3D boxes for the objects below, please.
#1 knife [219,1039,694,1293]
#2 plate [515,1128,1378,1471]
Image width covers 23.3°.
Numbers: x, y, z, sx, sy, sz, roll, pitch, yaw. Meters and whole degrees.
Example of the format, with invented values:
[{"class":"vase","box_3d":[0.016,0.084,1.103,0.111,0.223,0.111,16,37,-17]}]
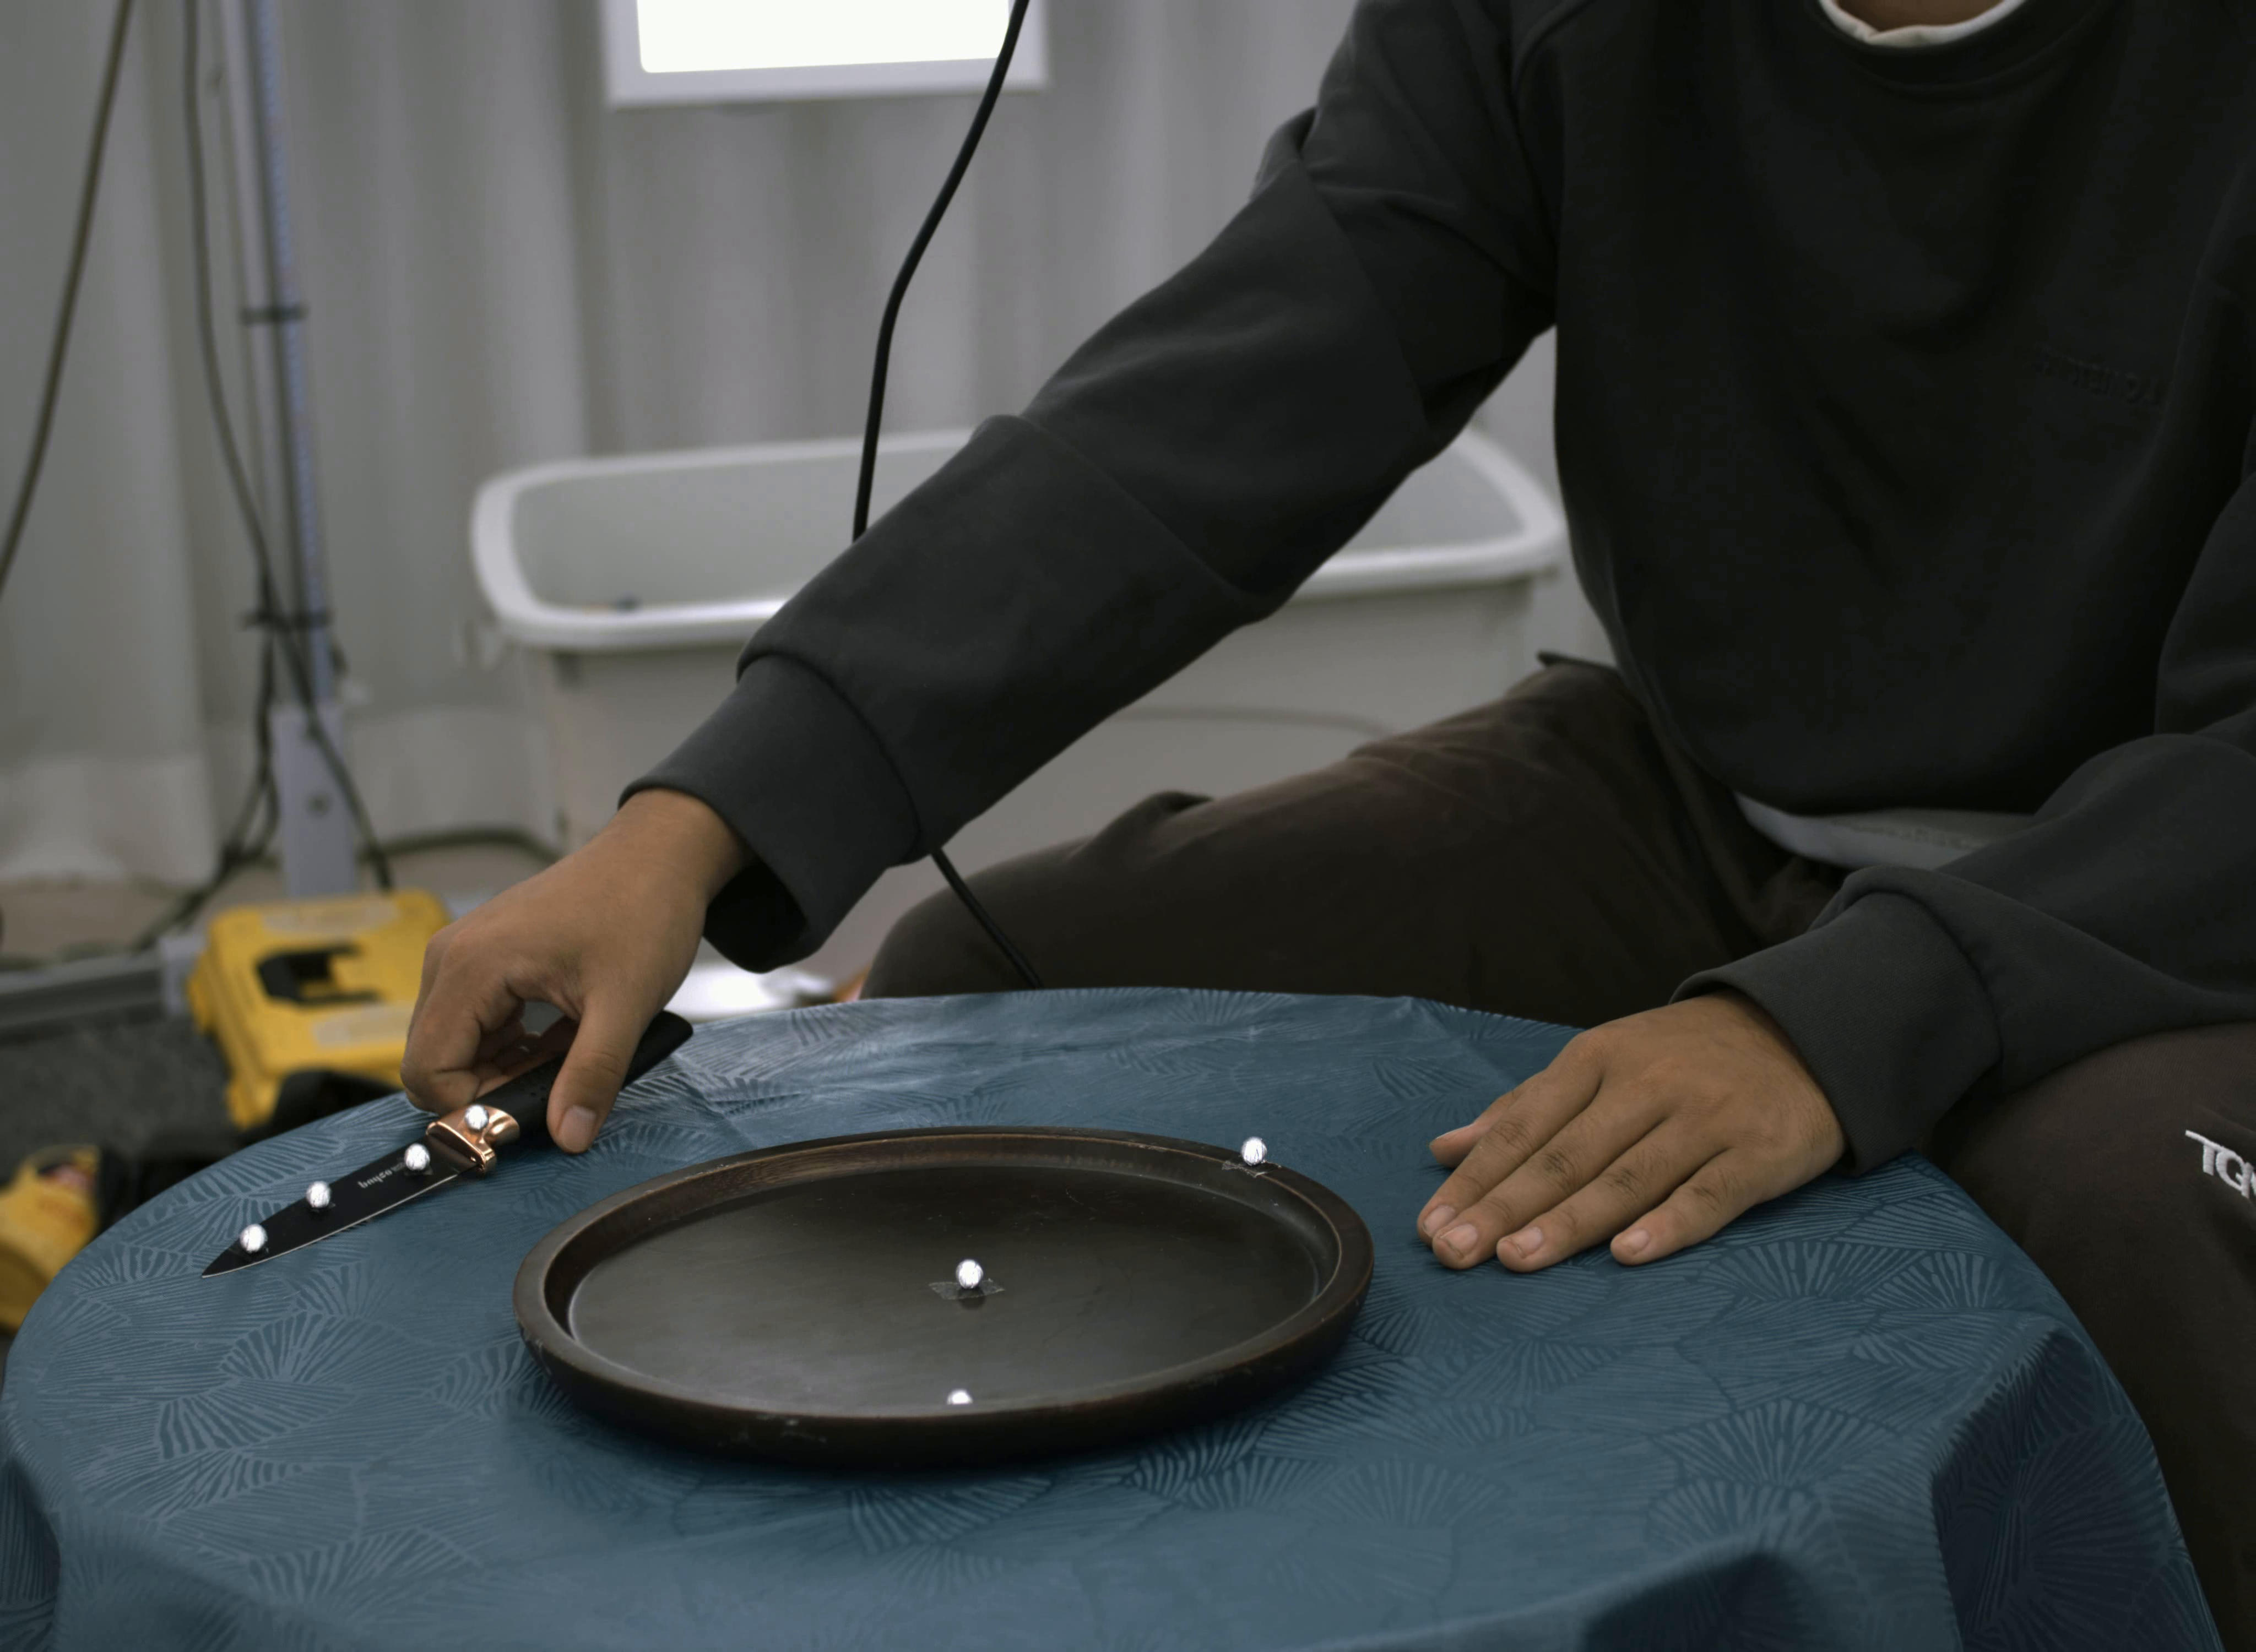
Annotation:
[{"class":"knife","box_3d":[-0.214,0.108,1.754,0.026,0.017,0.225,24,29,29]},{"class":"plate","box_3d":[-0.052,0.136,1.601,0.254,0.029,0.256,-3,14,0]}]
